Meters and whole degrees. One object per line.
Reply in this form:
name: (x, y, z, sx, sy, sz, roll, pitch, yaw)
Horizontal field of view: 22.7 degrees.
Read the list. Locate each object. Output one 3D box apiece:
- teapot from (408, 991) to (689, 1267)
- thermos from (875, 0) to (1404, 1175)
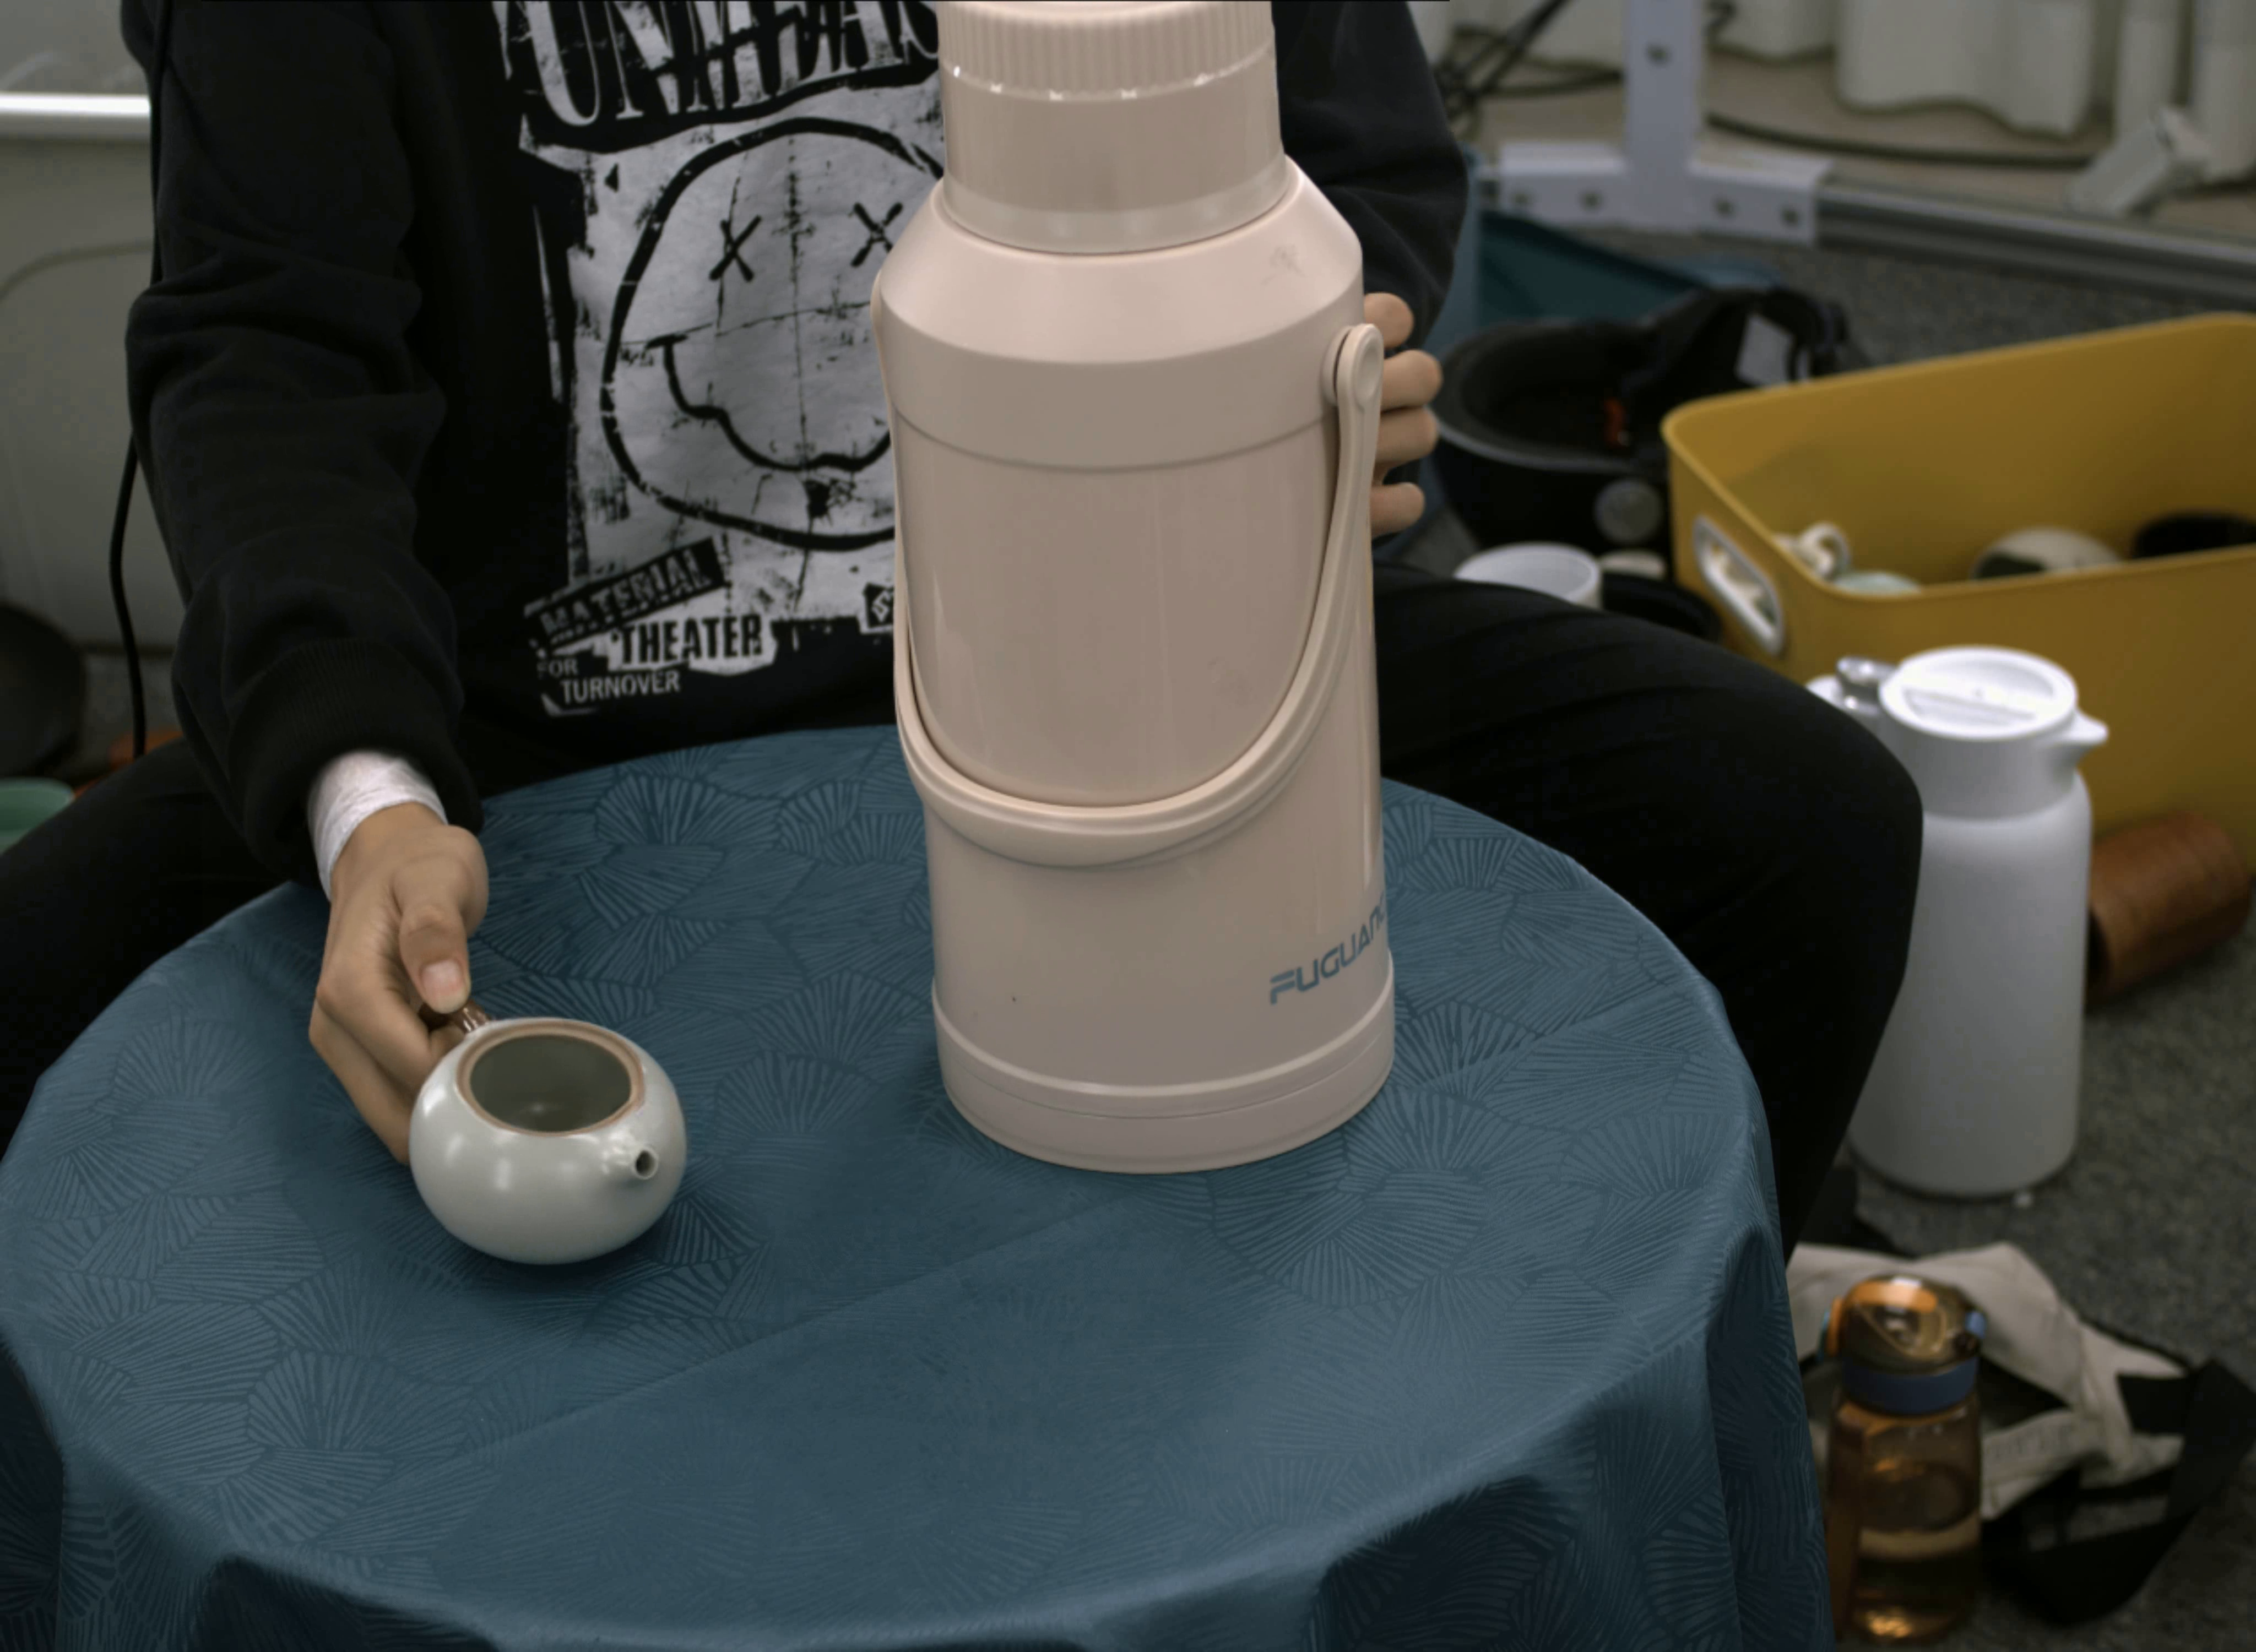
teapot: (-0.196, 0.100, 1.844, 0.093, 0.059, 0.128, -27, 47, -35)
thermos: (0.012, -0.101, 1.864, 0.174, 0.402, 0.210, 8, 29, 25)
